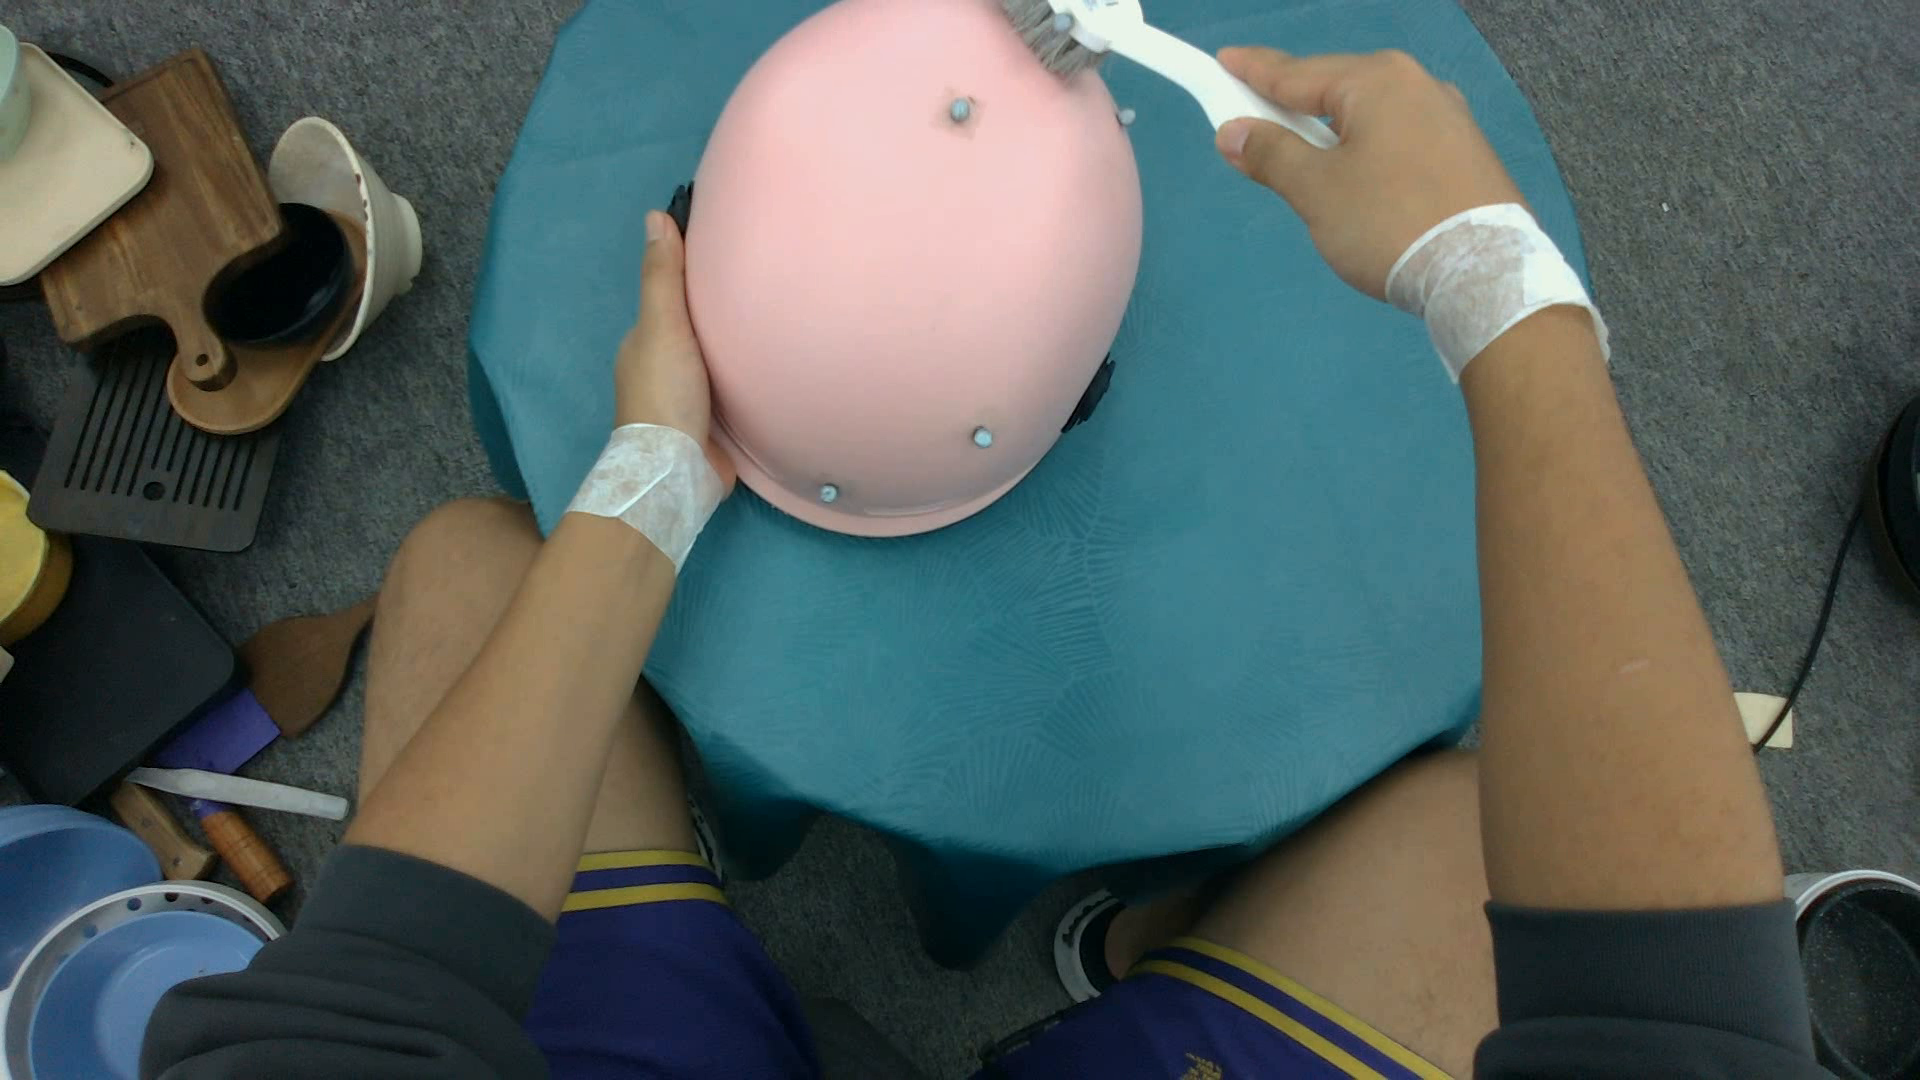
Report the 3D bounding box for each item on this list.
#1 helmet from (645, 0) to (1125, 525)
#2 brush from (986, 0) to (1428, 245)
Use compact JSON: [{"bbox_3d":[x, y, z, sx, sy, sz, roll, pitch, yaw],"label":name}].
[{"bbox_3d":[-0.027,-0.145,0.644,0.234,0.158,0.266,19,80,-9],"label":"helmet"},{"bbox_3d":[0.086,-0.180,0.551,0.034,0.050,0.244,-26,62,-32],"label":"brush"}]
